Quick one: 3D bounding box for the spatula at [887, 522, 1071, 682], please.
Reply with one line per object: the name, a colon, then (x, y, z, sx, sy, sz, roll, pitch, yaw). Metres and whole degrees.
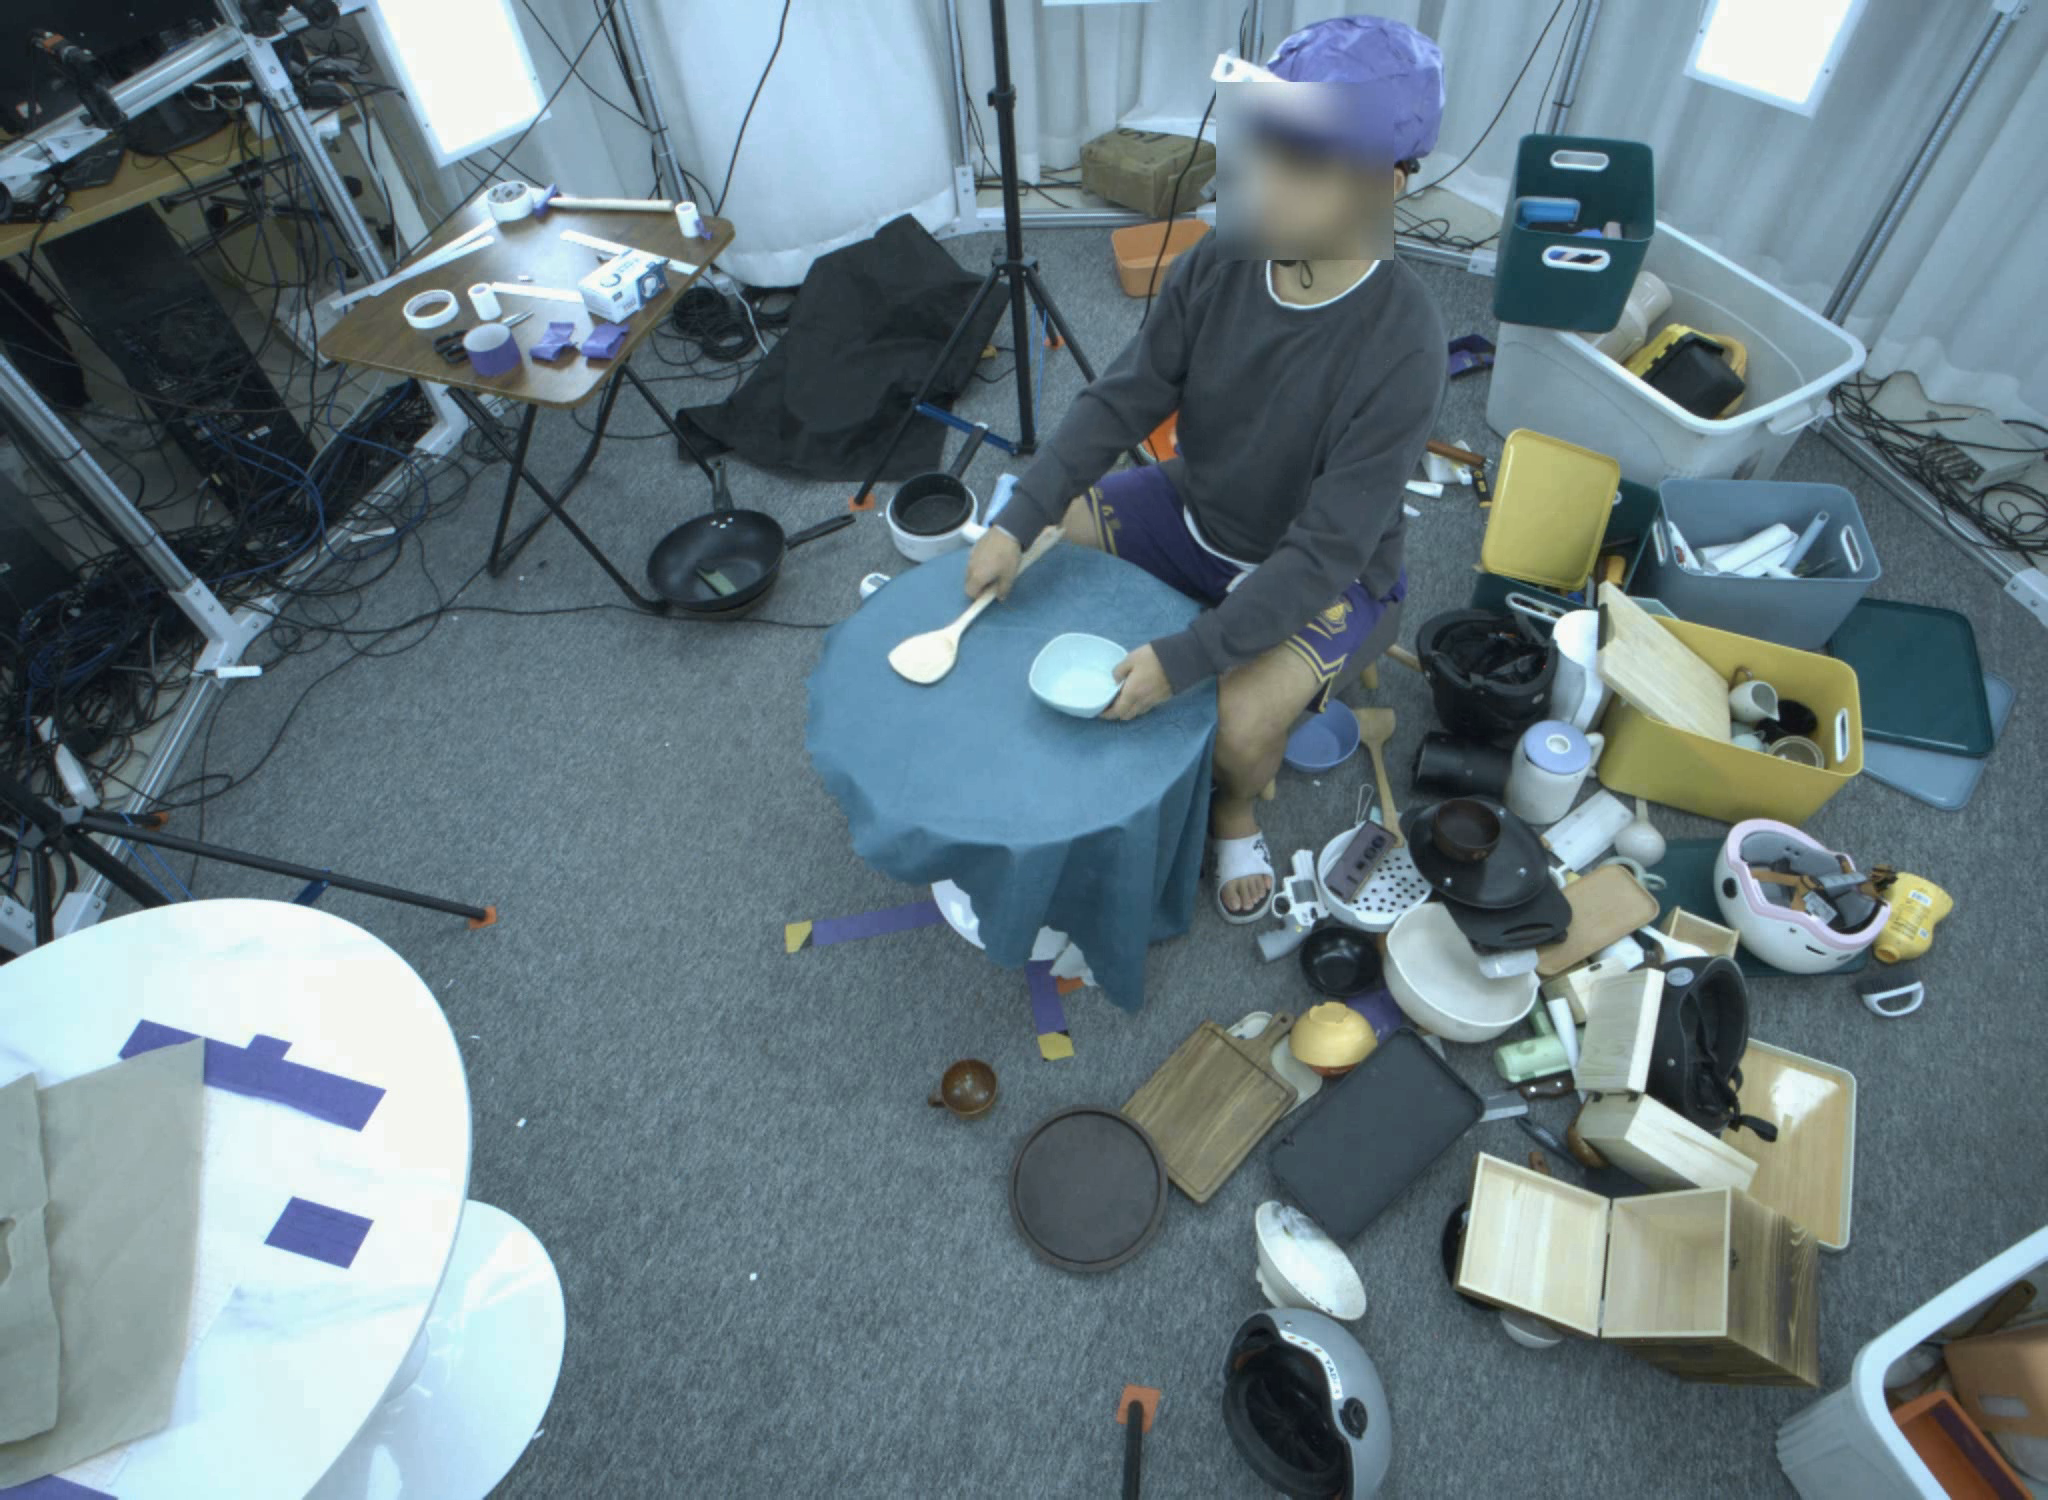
spatula: (-0.059, -0.245, 1.944, 0.094, 0.018, 0.392, 36, 68, 21)

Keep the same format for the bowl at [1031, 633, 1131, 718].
bowl: (0.087, -0.101, 1.822, 0.151, 0.059, 0.150, -2, 54, 5)
